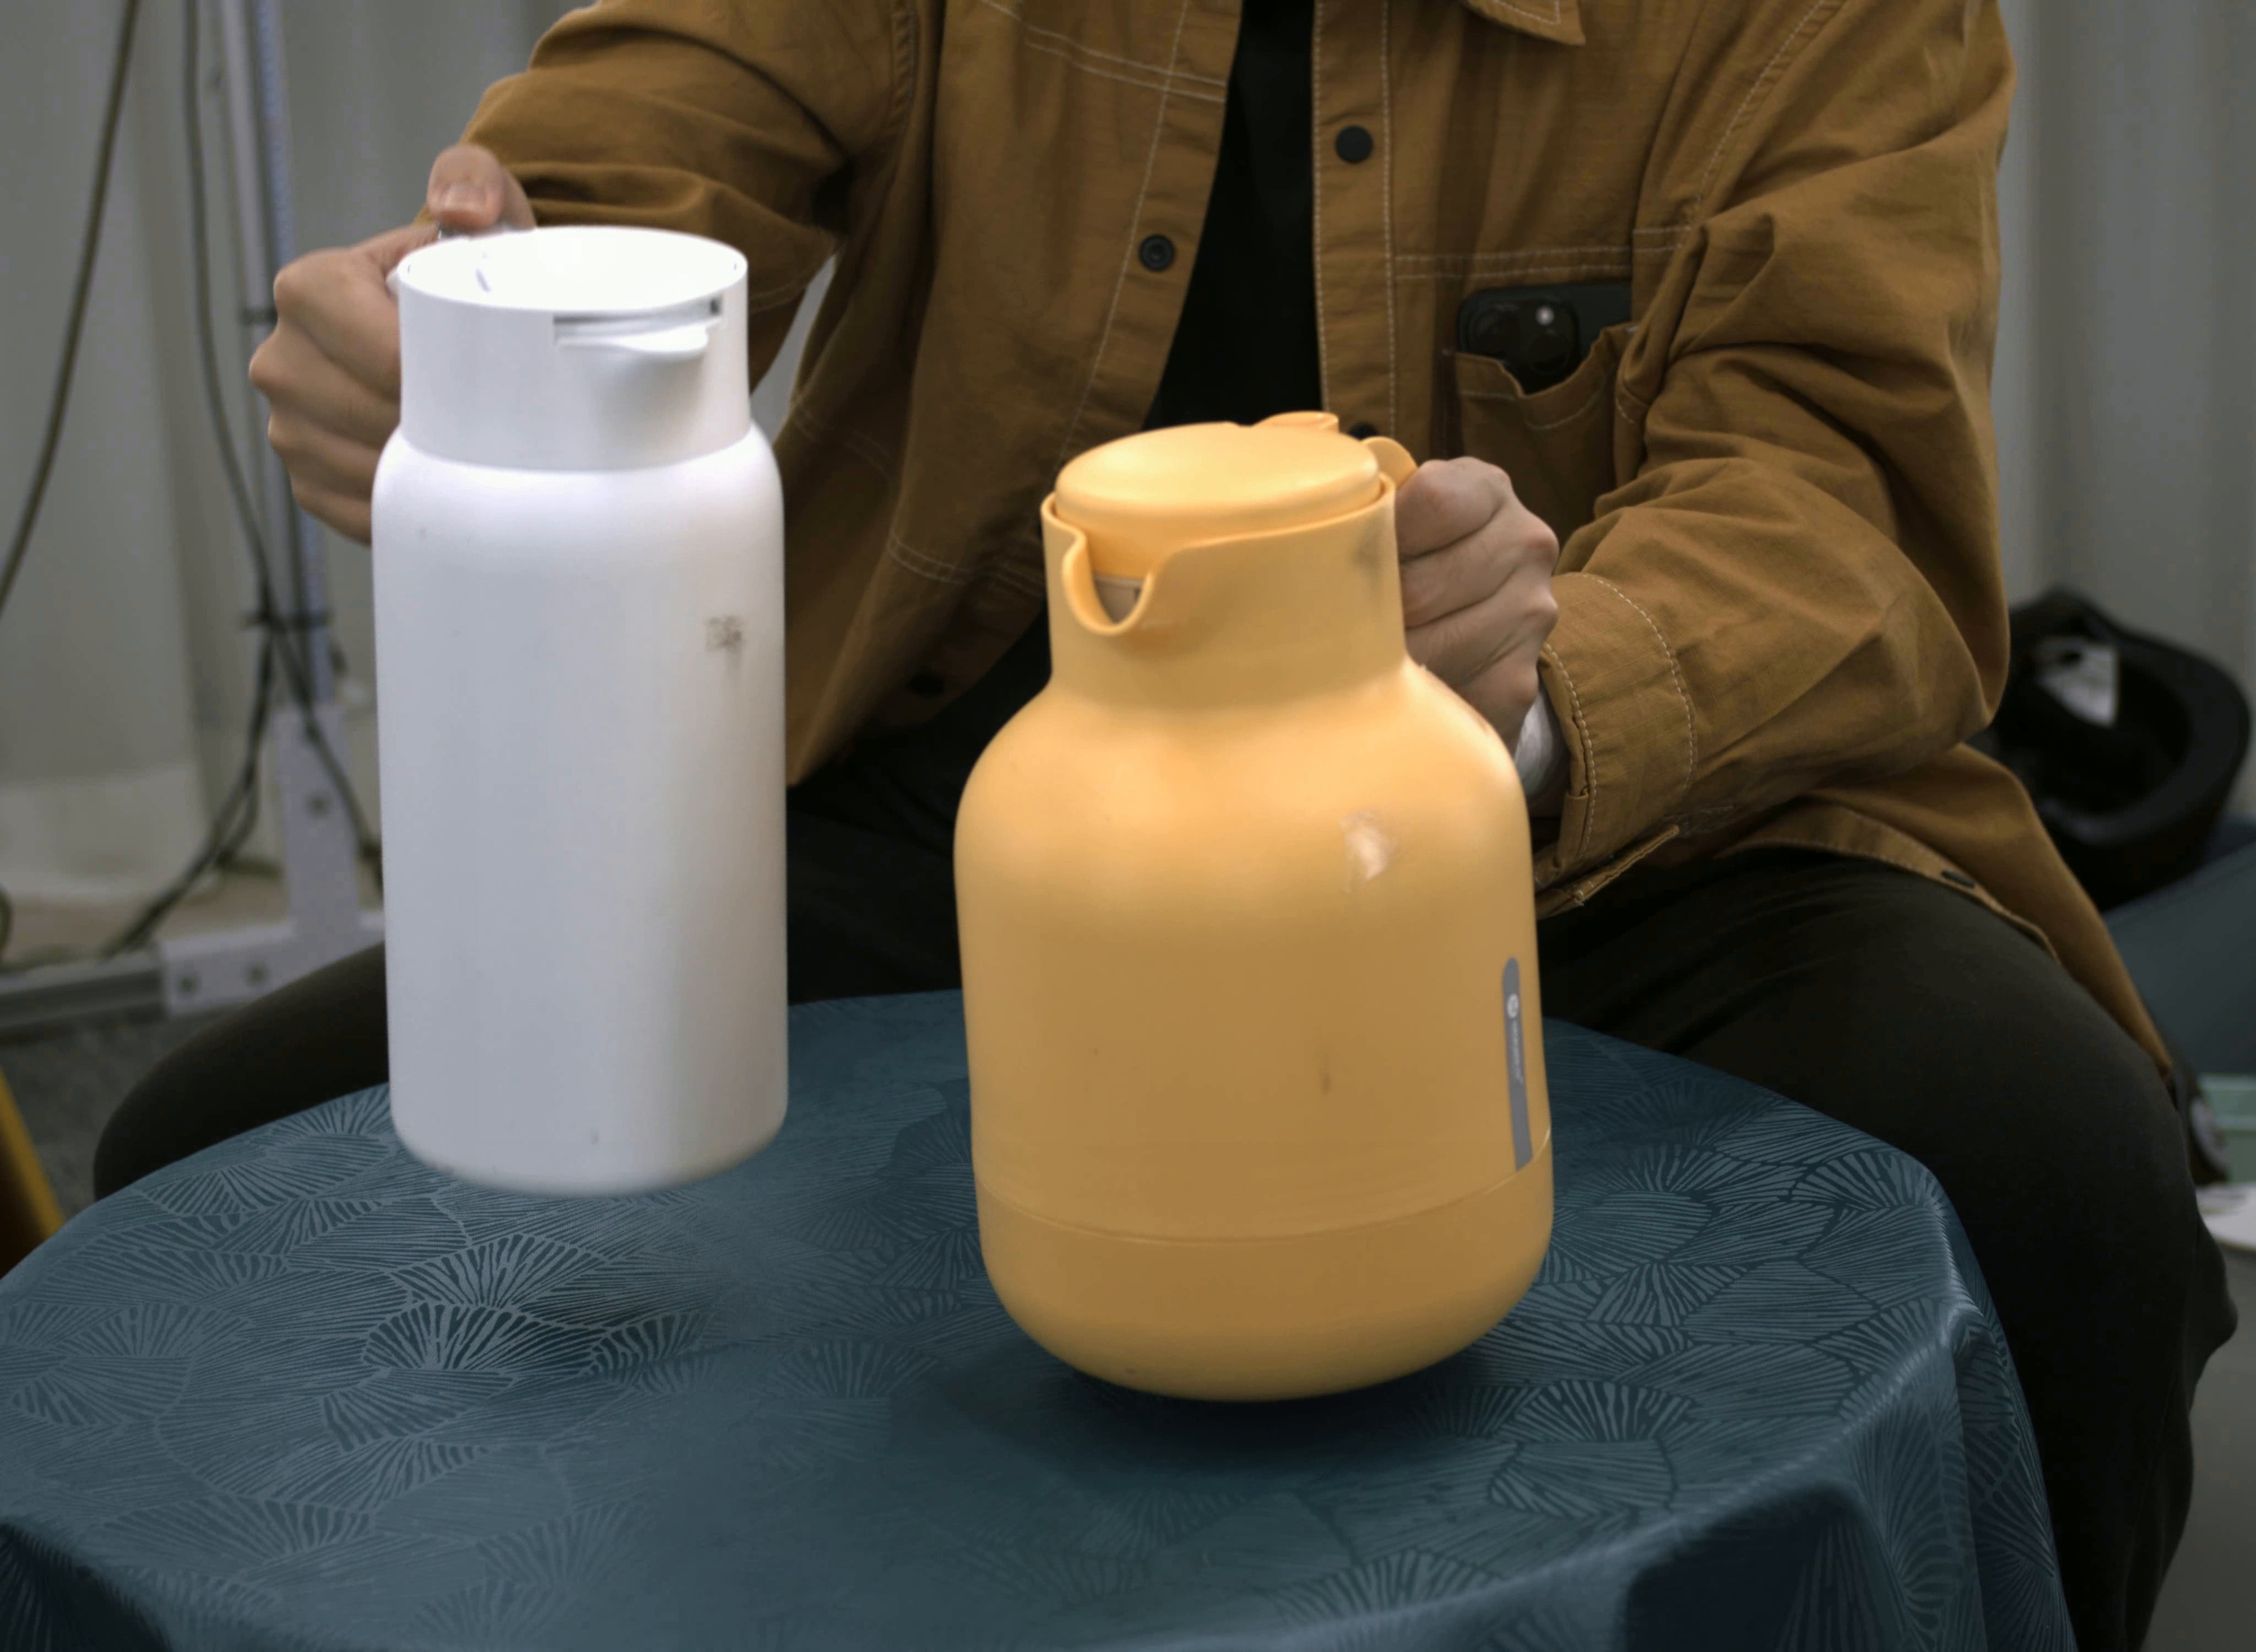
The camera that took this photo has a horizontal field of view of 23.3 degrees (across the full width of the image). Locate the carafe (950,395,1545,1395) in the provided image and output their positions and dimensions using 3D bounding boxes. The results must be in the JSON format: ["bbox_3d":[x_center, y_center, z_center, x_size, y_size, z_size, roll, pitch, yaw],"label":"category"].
[{"bbox_3d":[0.042,0.011,1.532,0.164,0.259,0.203,8,21,27],"label":"carafe"}]

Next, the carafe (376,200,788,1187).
[{"bbox_3d":[-0.167,-0.042,1.591,0.123,0.267,0.174,-13,22,-31],"label":"carafe"}]
